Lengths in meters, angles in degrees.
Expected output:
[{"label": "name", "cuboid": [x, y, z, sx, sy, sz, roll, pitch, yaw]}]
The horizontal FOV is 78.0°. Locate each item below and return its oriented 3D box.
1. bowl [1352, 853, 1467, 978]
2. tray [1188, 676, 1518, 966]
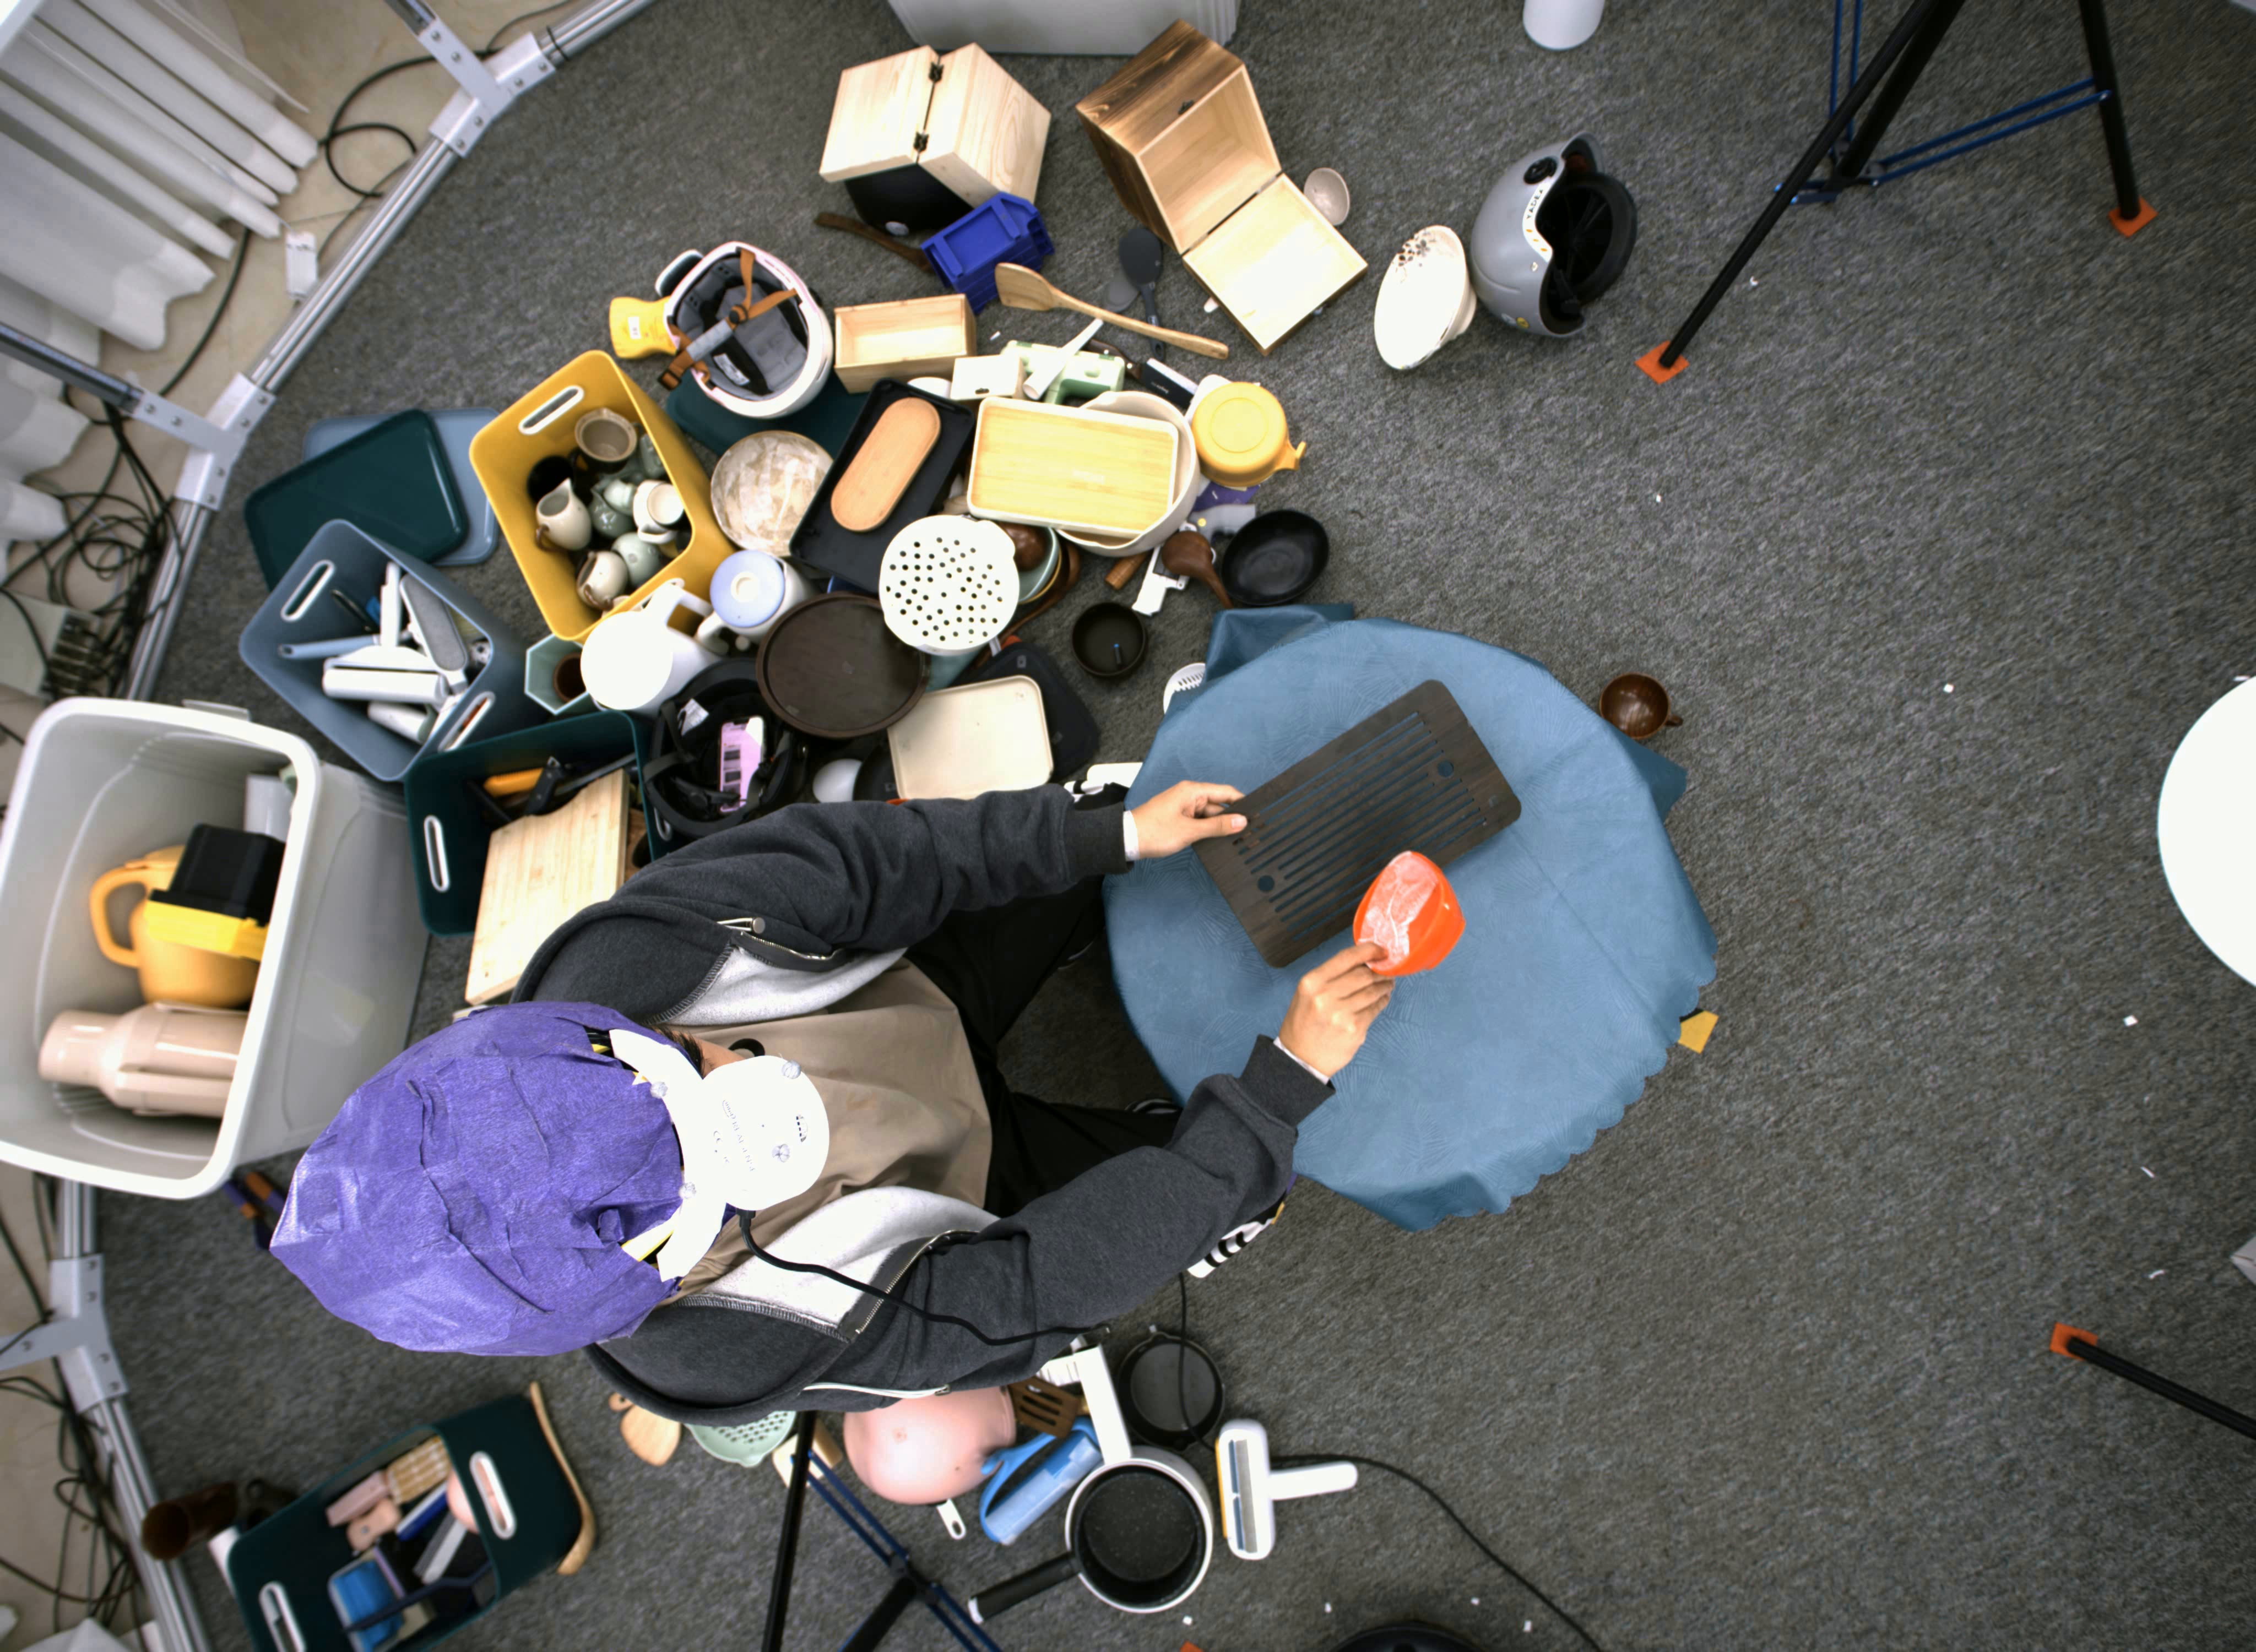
[{"label": "bowl", "cuboid": [0.261, 0.087, 1.252, 0.051, 0.118, 0.119, 25, 90, -27]}, {"label": "tray", "cuboid": [0.228, -0.006, 1.405, 0.307, 0.018, 0.170, -33, 91, 6]}]
